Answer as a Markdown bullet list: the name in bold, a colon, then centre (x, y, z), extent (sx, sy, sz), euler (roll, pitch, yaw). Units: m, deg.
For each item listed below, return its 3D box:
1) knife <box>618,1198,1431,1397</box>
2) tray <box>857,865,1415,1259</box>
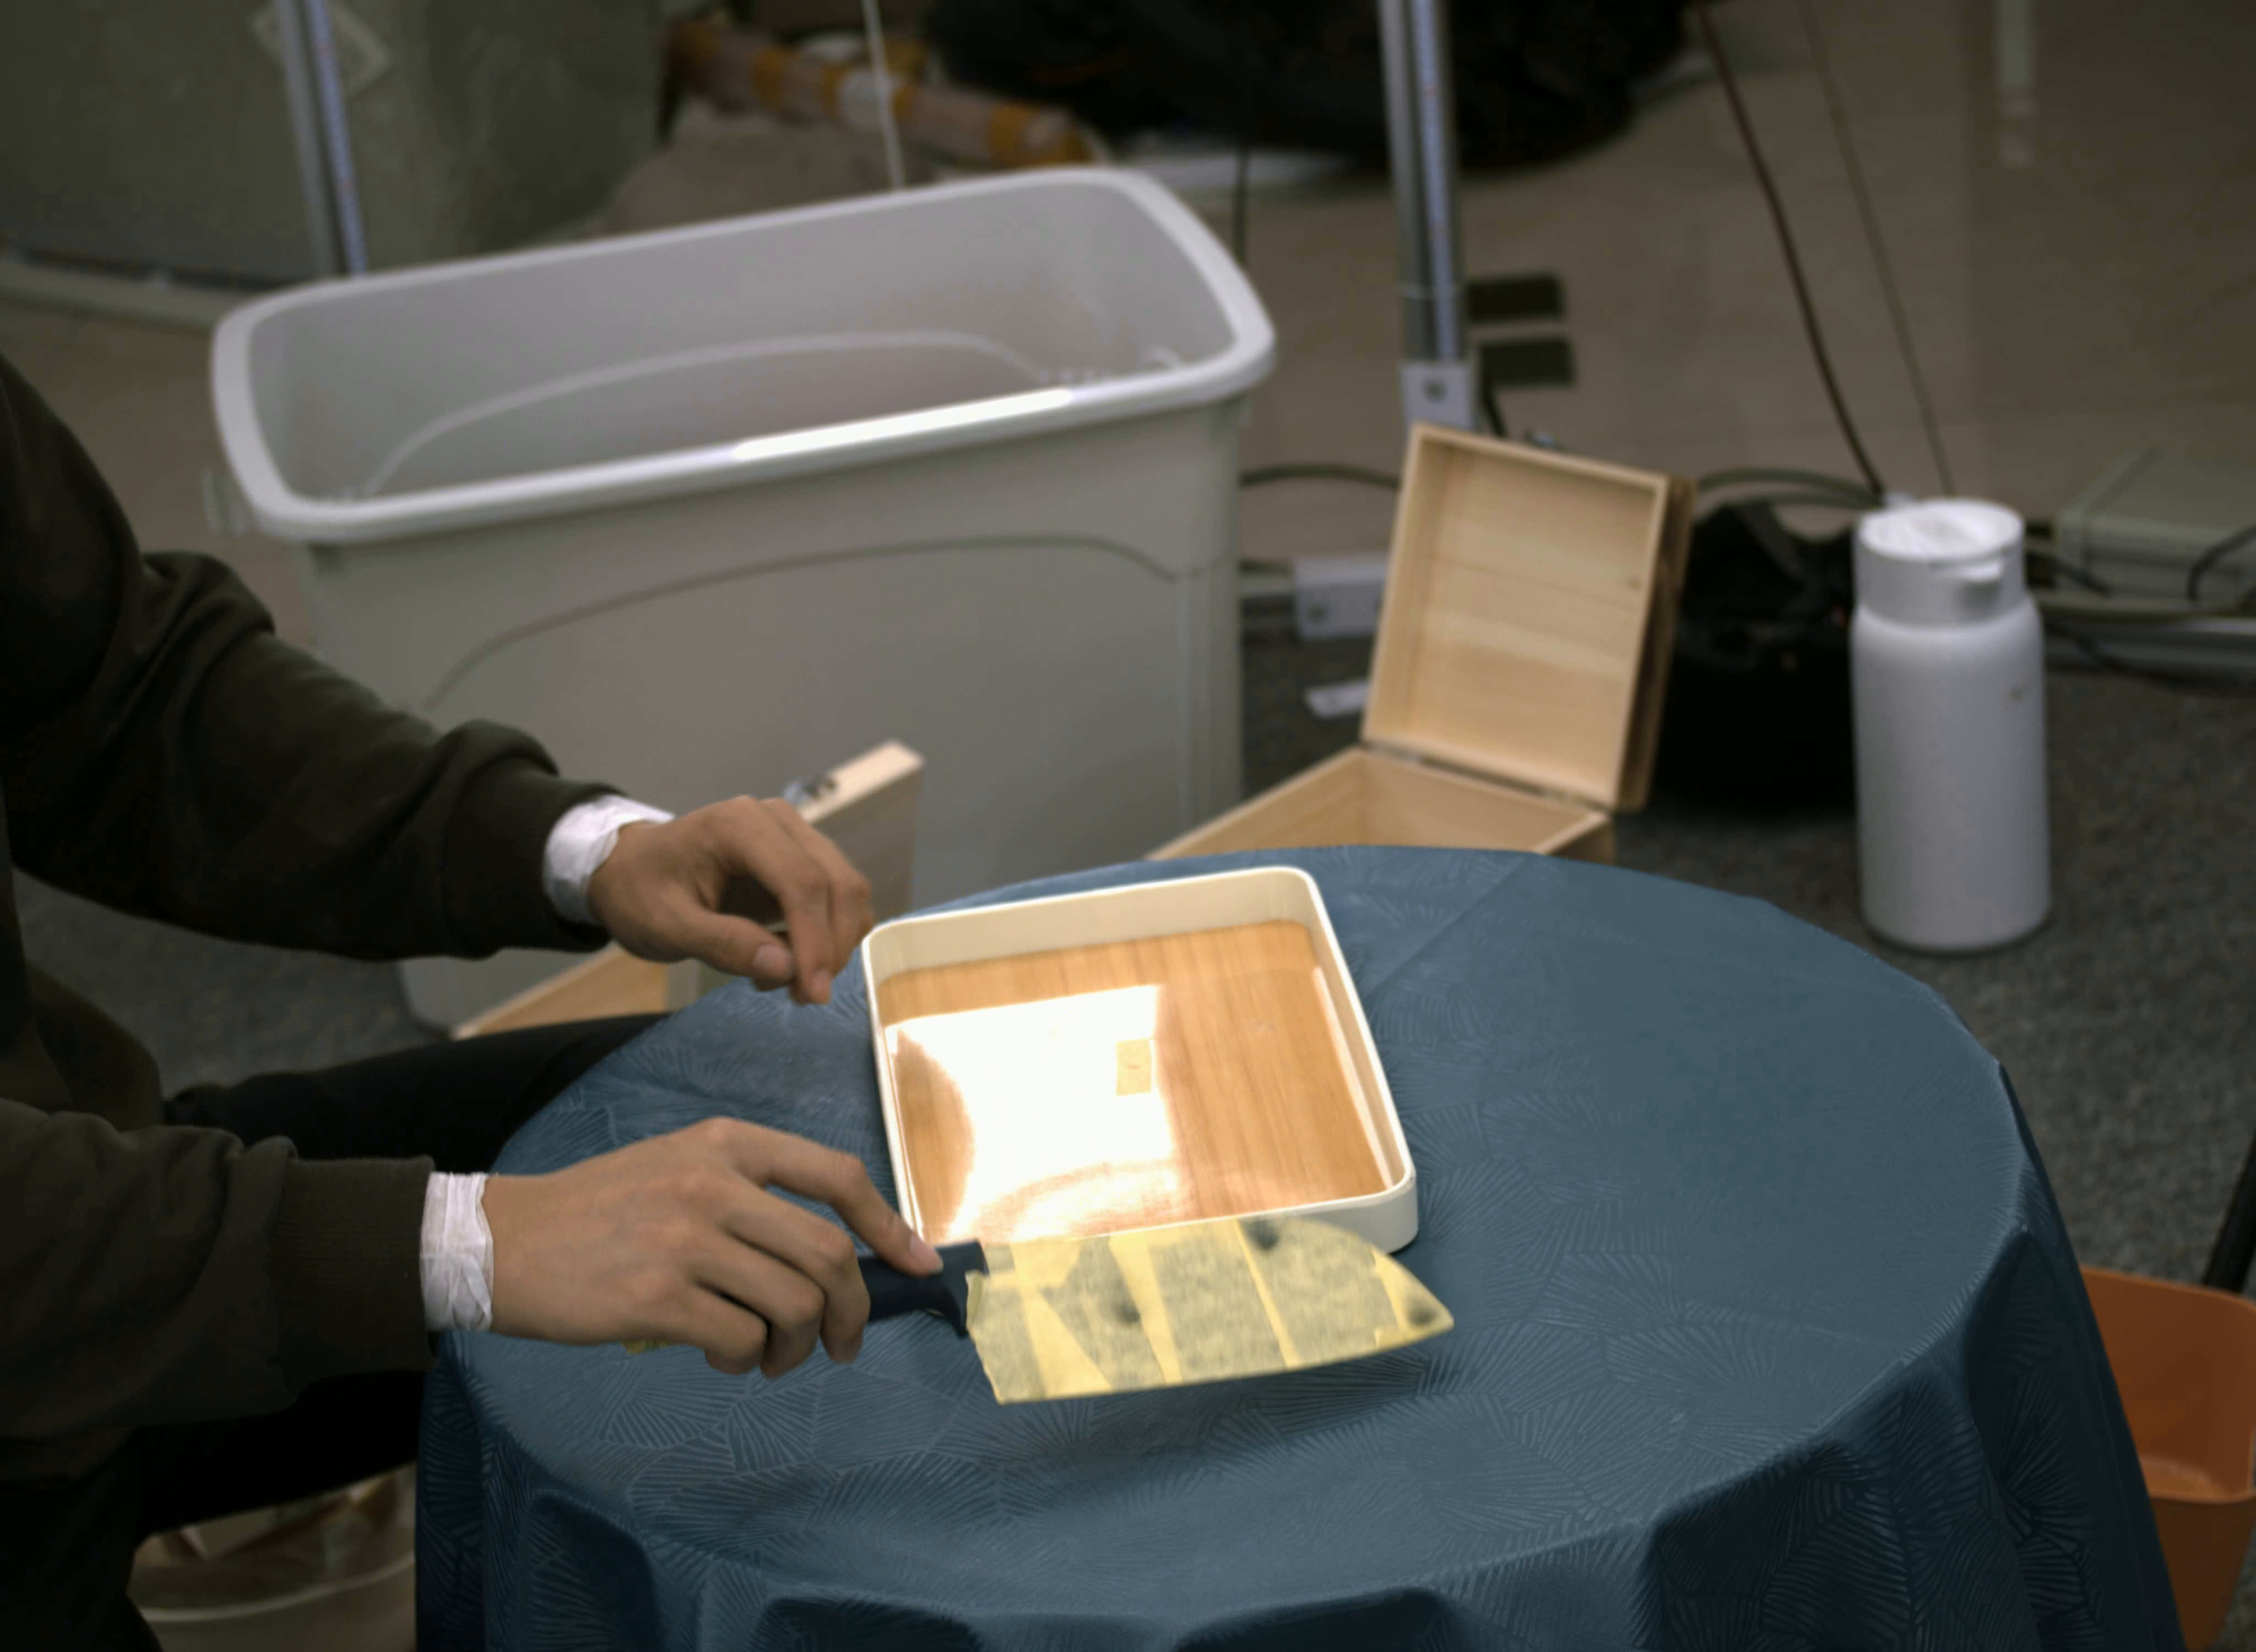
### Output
- **knife**: centre (-0.033, 0.168, 1.975), extent (0.289, 0.028, 0.079), euler (-5, 43, -14)
- **tray**: centre (-0.002, 0.099, 2.207), extent (0.191, 0.028, 0.296), euler (-9, 24, -3)
